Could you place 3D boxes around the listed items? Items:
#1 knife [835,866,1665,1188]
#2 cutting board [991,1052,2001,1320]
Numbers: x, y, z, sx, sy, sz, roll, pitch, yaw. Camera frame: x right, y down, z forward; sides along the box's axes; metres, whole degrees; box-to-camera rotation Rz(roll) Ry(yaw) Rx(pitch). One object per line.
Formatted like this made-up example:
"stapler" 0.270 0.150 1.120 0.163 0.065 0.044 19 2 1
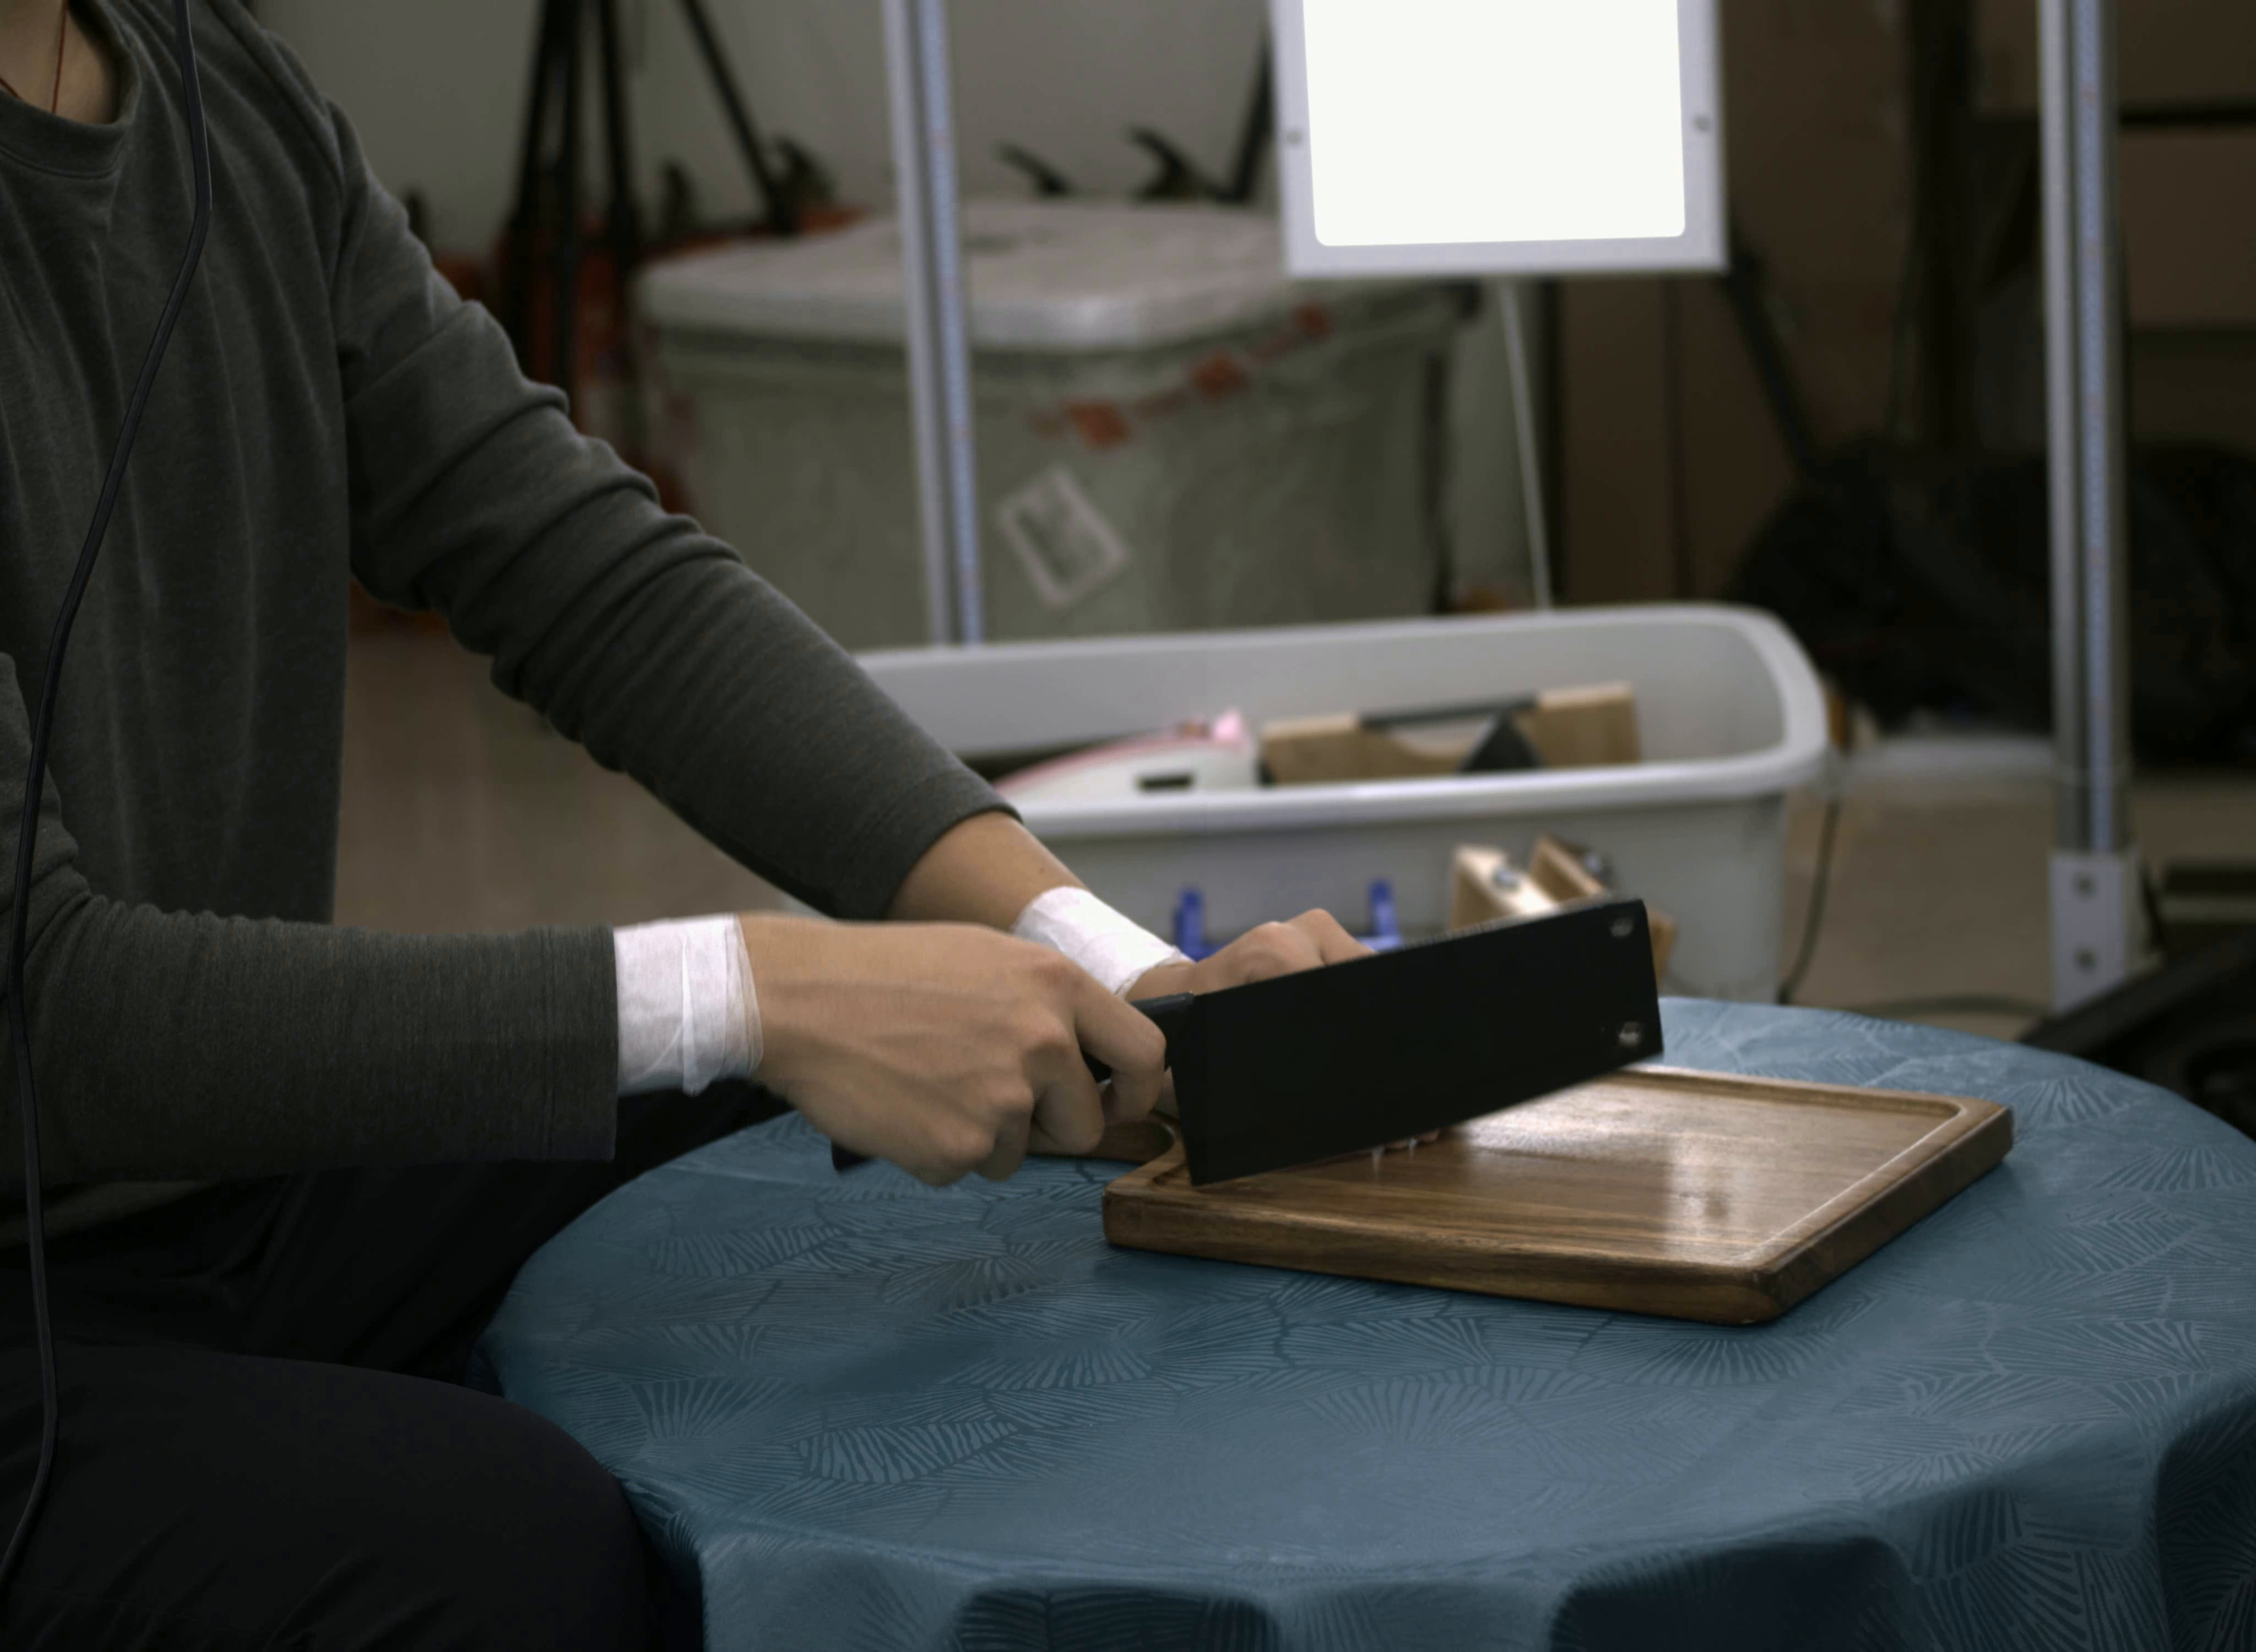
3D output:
"knife" 0.044 0.078 1.848 0.297 0.081 0.021 -11 10 -16
"cutting board" 0.104 0.112 1.878 0.359 0.023 0.196 4 16 34
